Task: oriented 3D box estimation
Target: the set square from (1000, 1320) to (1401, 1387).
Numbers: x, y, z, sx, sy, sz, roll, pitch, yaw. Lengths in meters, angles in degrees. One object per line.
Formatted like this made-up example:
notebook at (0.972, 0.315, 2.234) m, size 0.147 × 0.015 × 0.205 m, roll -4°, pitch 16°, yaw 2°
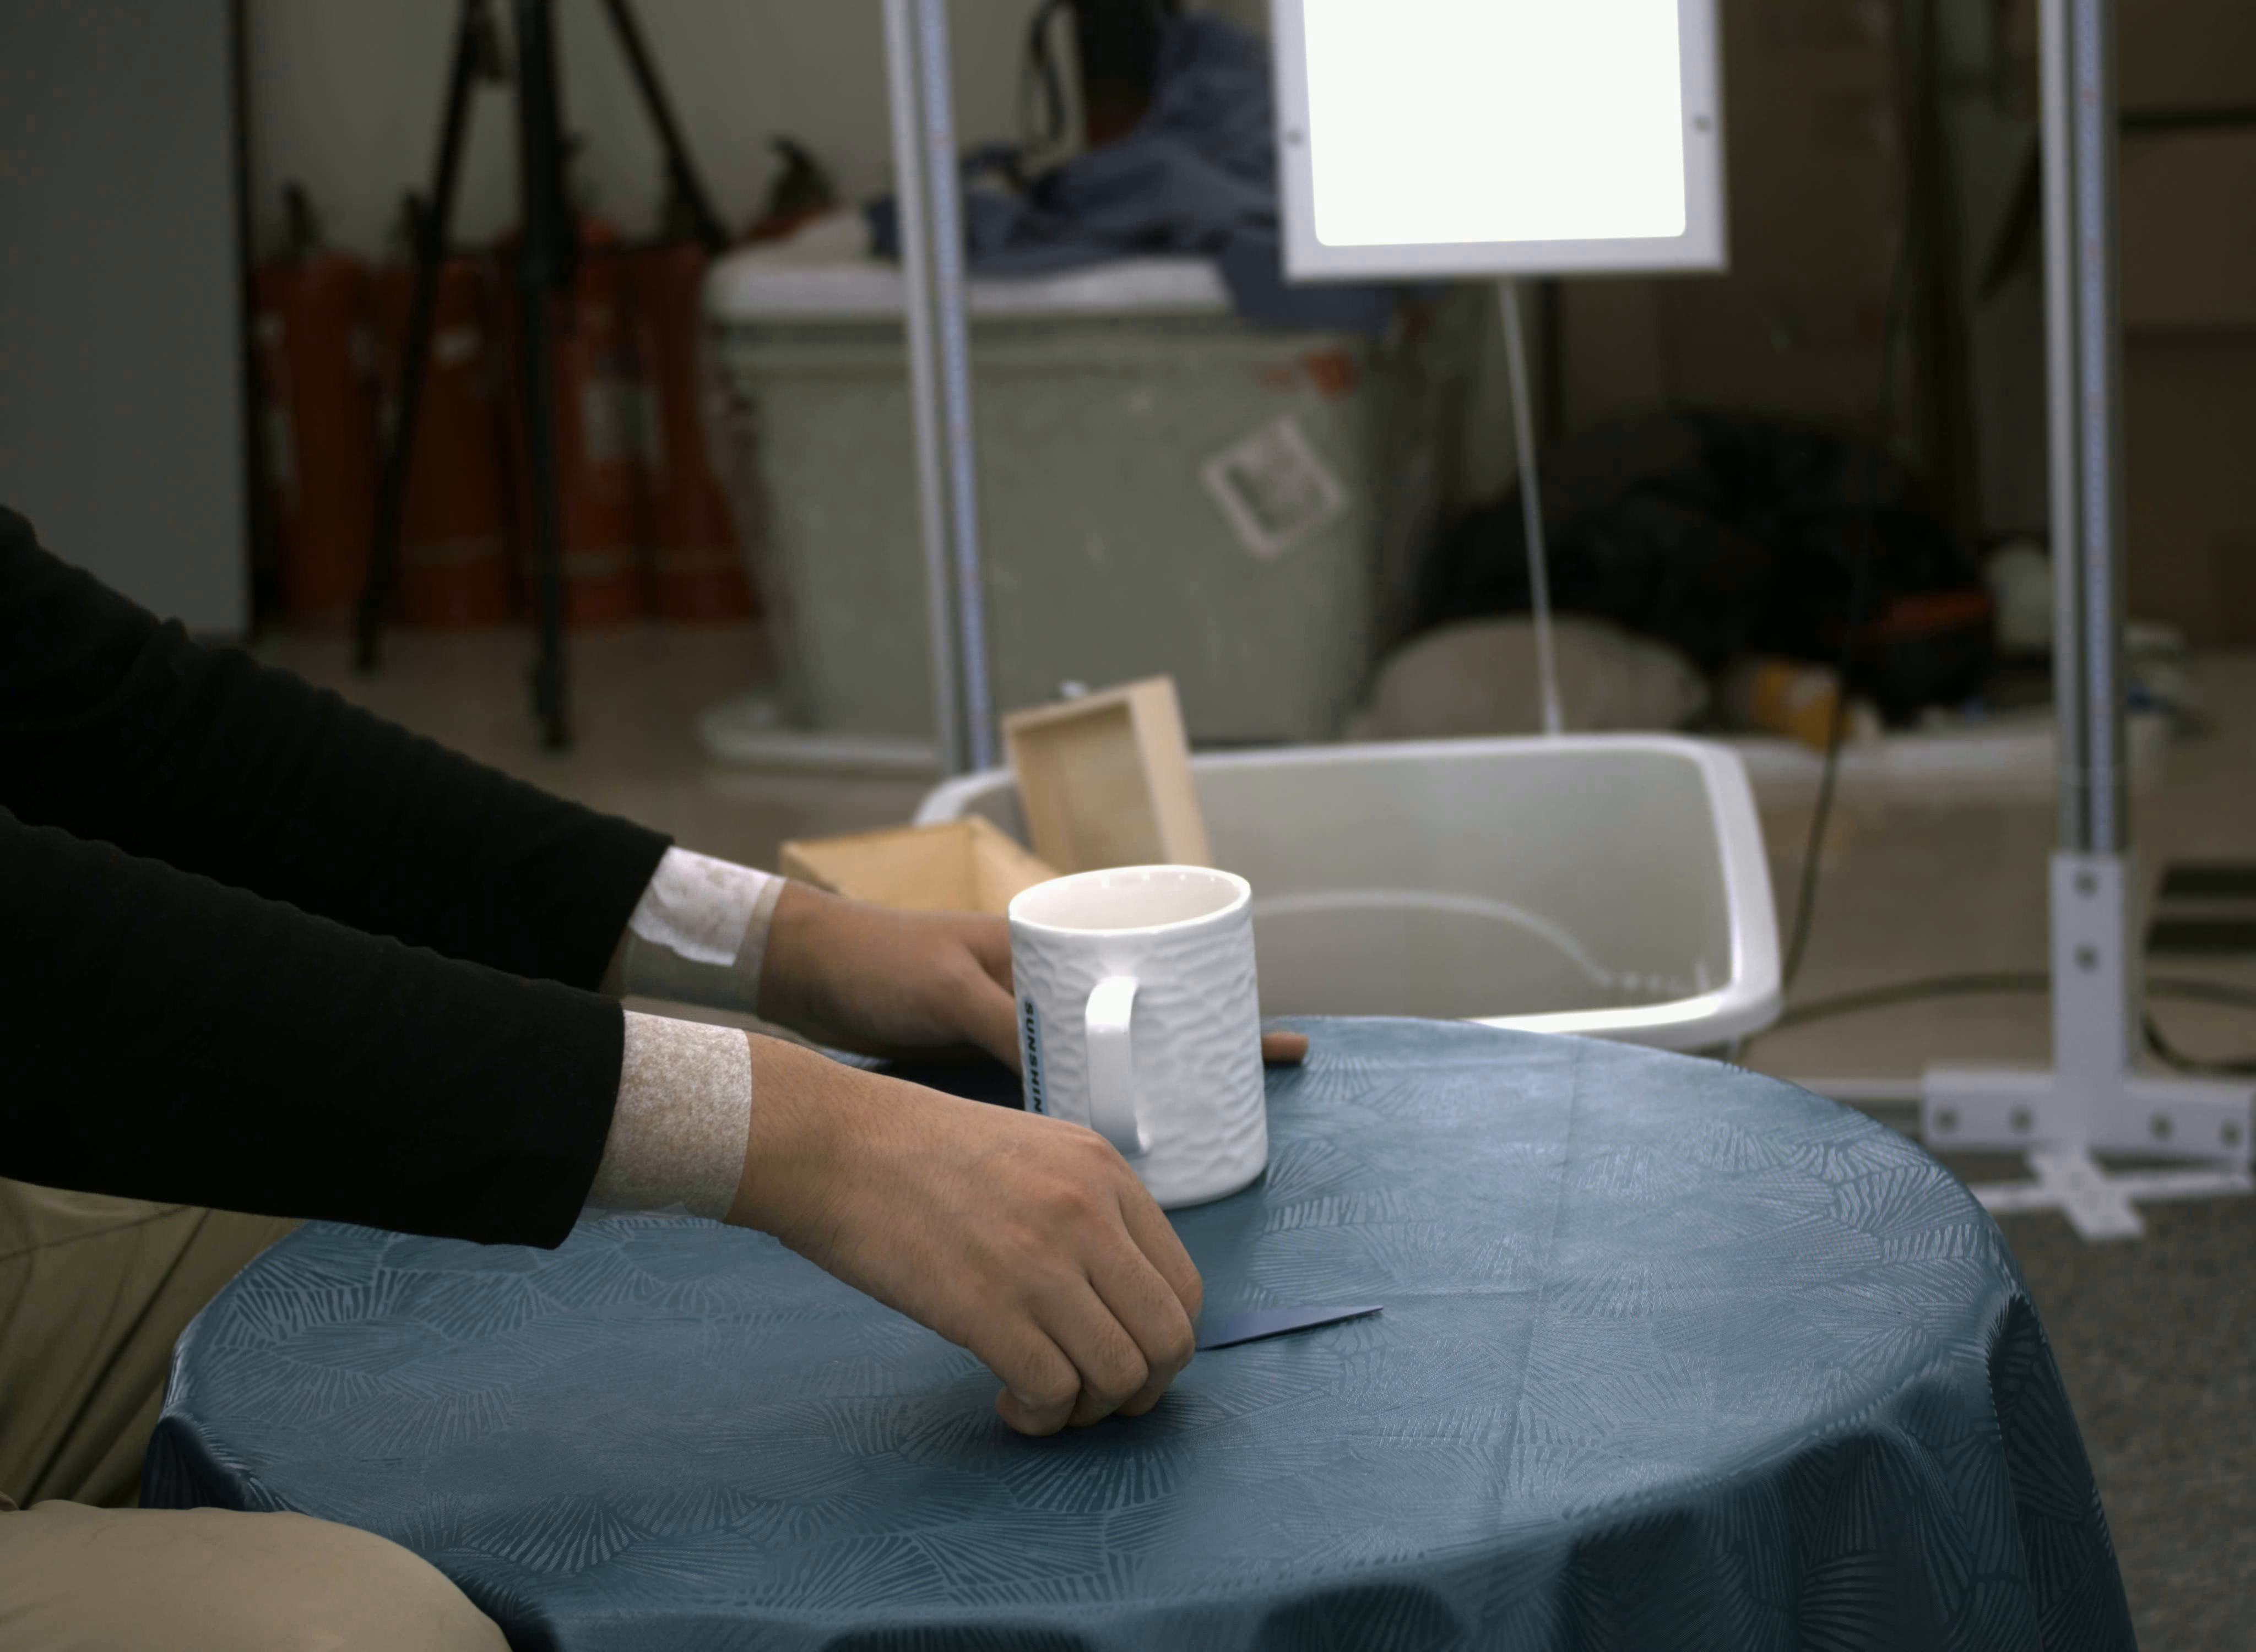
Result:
set square at (0.019, 0.165, 1.727) m, size 0.133 × 0.006 × 0.060 m, roll -2°, pitch 13°, yaw 14°

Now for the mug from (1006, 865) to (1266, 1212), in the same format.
mug at (0.002, 0.077, 1.884) m, size 0.085 × 0.102 × 0.117 m, roll -2°, pitch 14°, yaw 9°
